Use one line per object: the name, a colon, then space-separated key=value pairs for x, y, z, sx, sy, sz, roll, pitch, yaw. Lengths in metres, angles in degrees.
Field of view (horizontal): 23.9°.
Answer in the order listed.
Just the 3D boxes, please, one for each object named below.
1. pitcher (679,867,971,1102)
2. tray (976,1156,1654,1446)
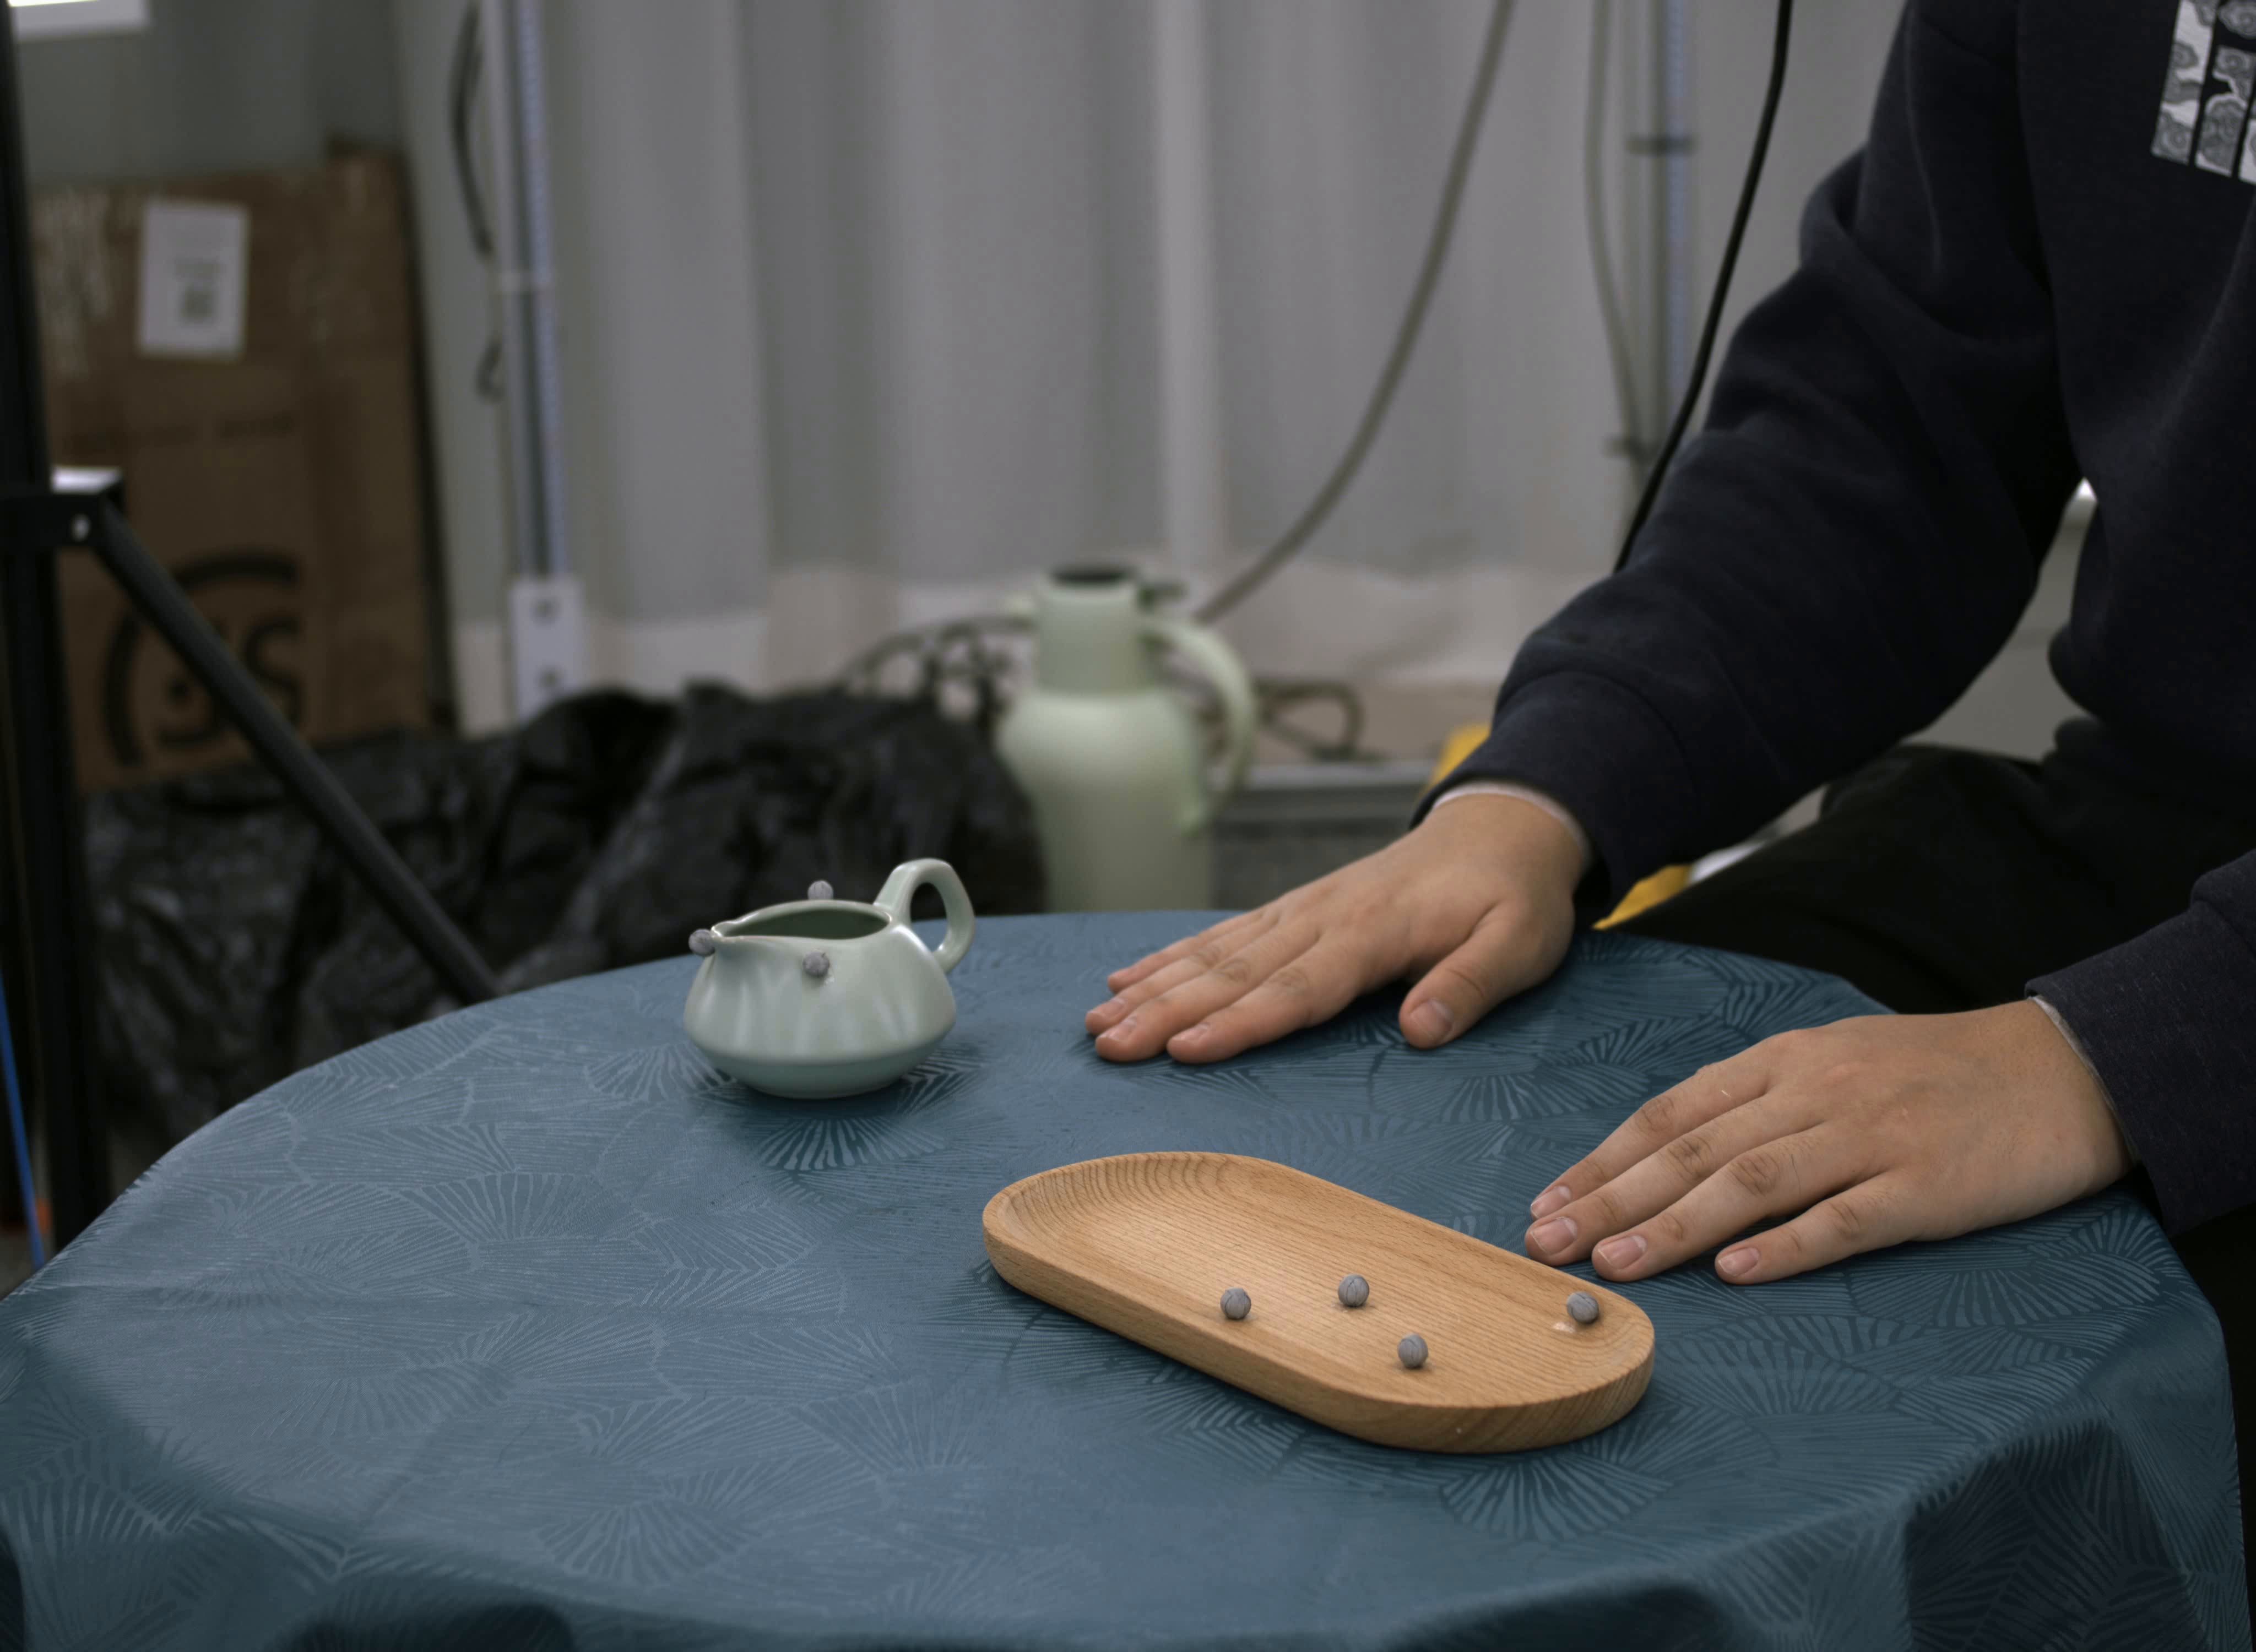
pitcher: x=-0.090 y=0.050 z=1.675 sx=0.088 sy=0.060 sz=0.105 roll=13 pitch=20 yaw=41
tray: x=0.049 y=0.128 z=1.450 sx=0.099 sy=0.020 sz=0.236 roll=-12 pitch=16 yaw=-35
